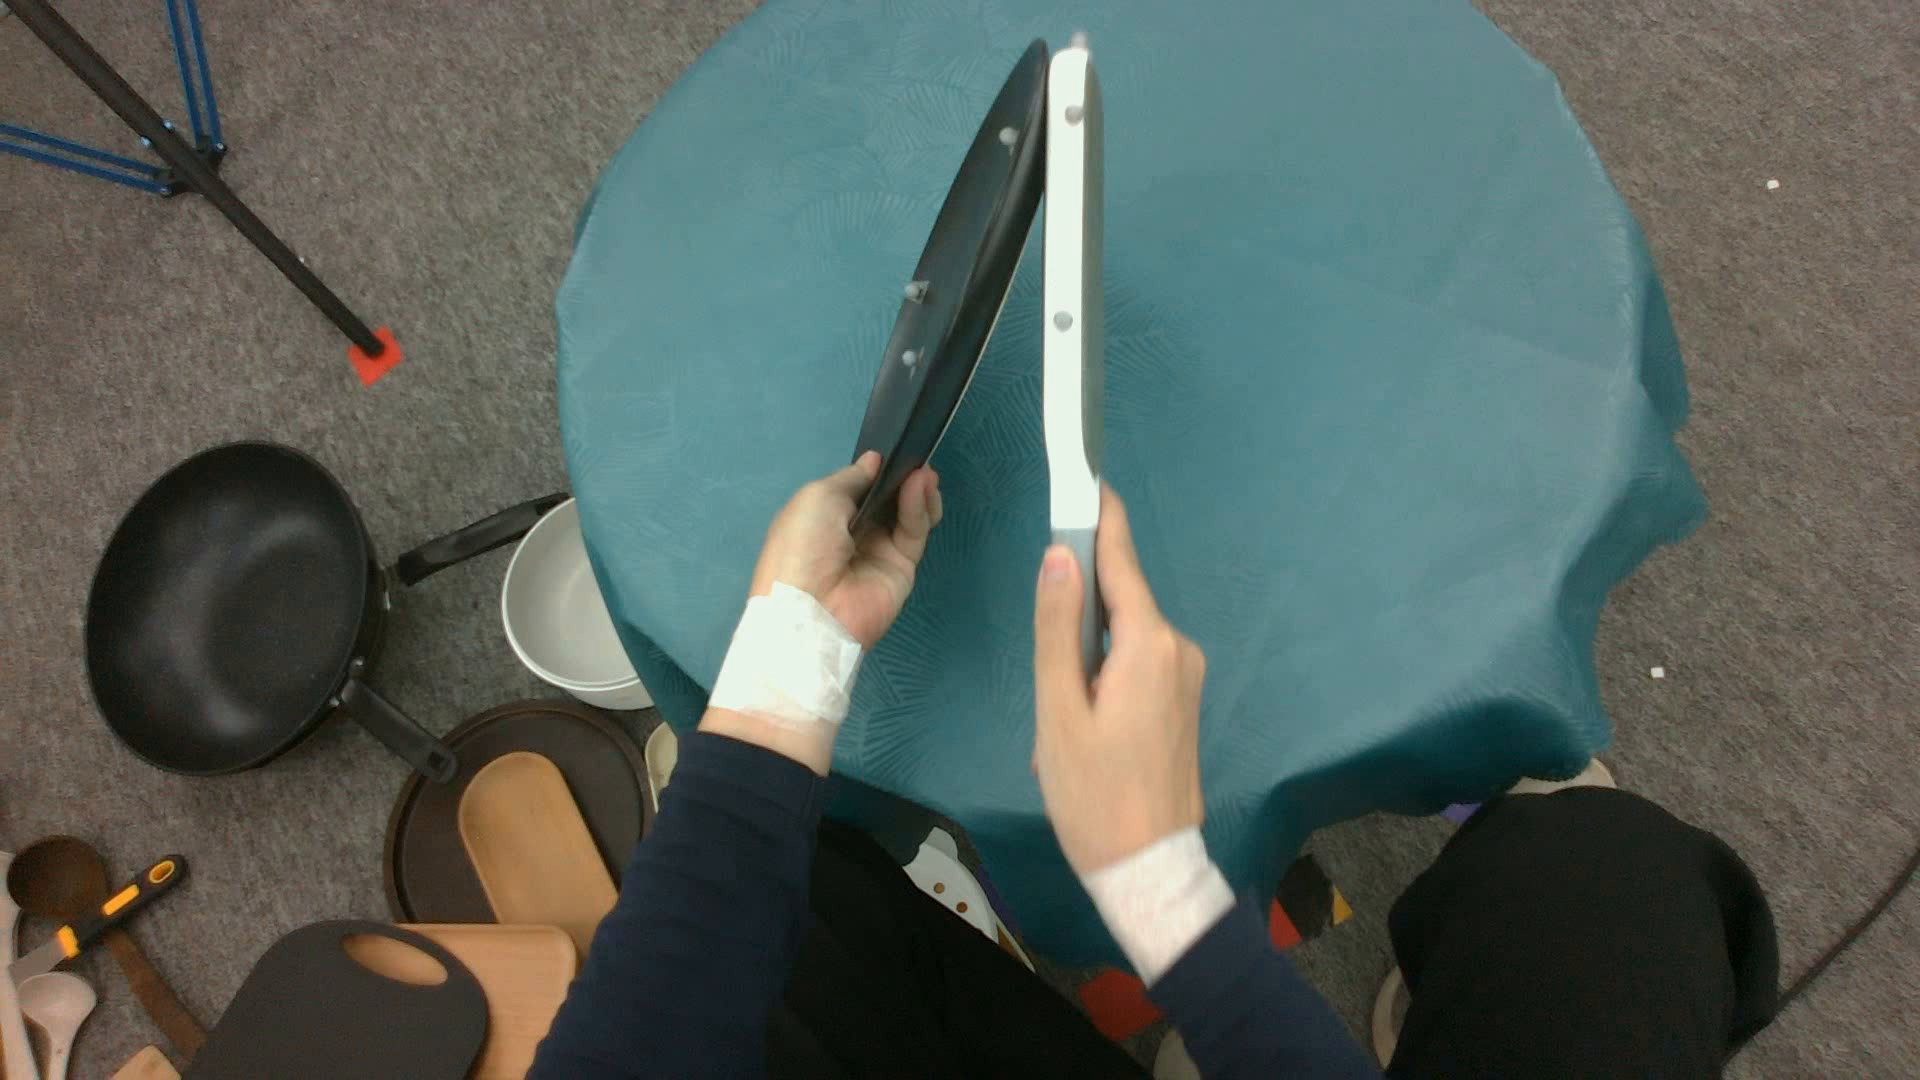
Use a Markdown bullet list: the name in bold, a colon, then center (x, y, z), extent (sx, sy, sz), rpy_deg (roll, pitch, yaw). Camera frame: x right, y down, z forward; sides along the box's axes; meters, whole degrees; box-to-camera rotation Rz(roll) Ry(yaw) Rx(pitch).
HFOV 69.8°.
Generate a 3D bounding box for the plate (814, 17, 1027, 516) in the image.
- **plate**: center (-0.016, -0.123, 0.646), extent (0.023, 0.243, 0.245), rpy_deg (20, 68, -11)

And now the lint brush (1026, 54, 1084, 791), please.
- **lint brush**: center (0.040, -0.053, 0.571), extent (0.021, 0.060, 0.309), rpy_deg (-1, 82, 9)
